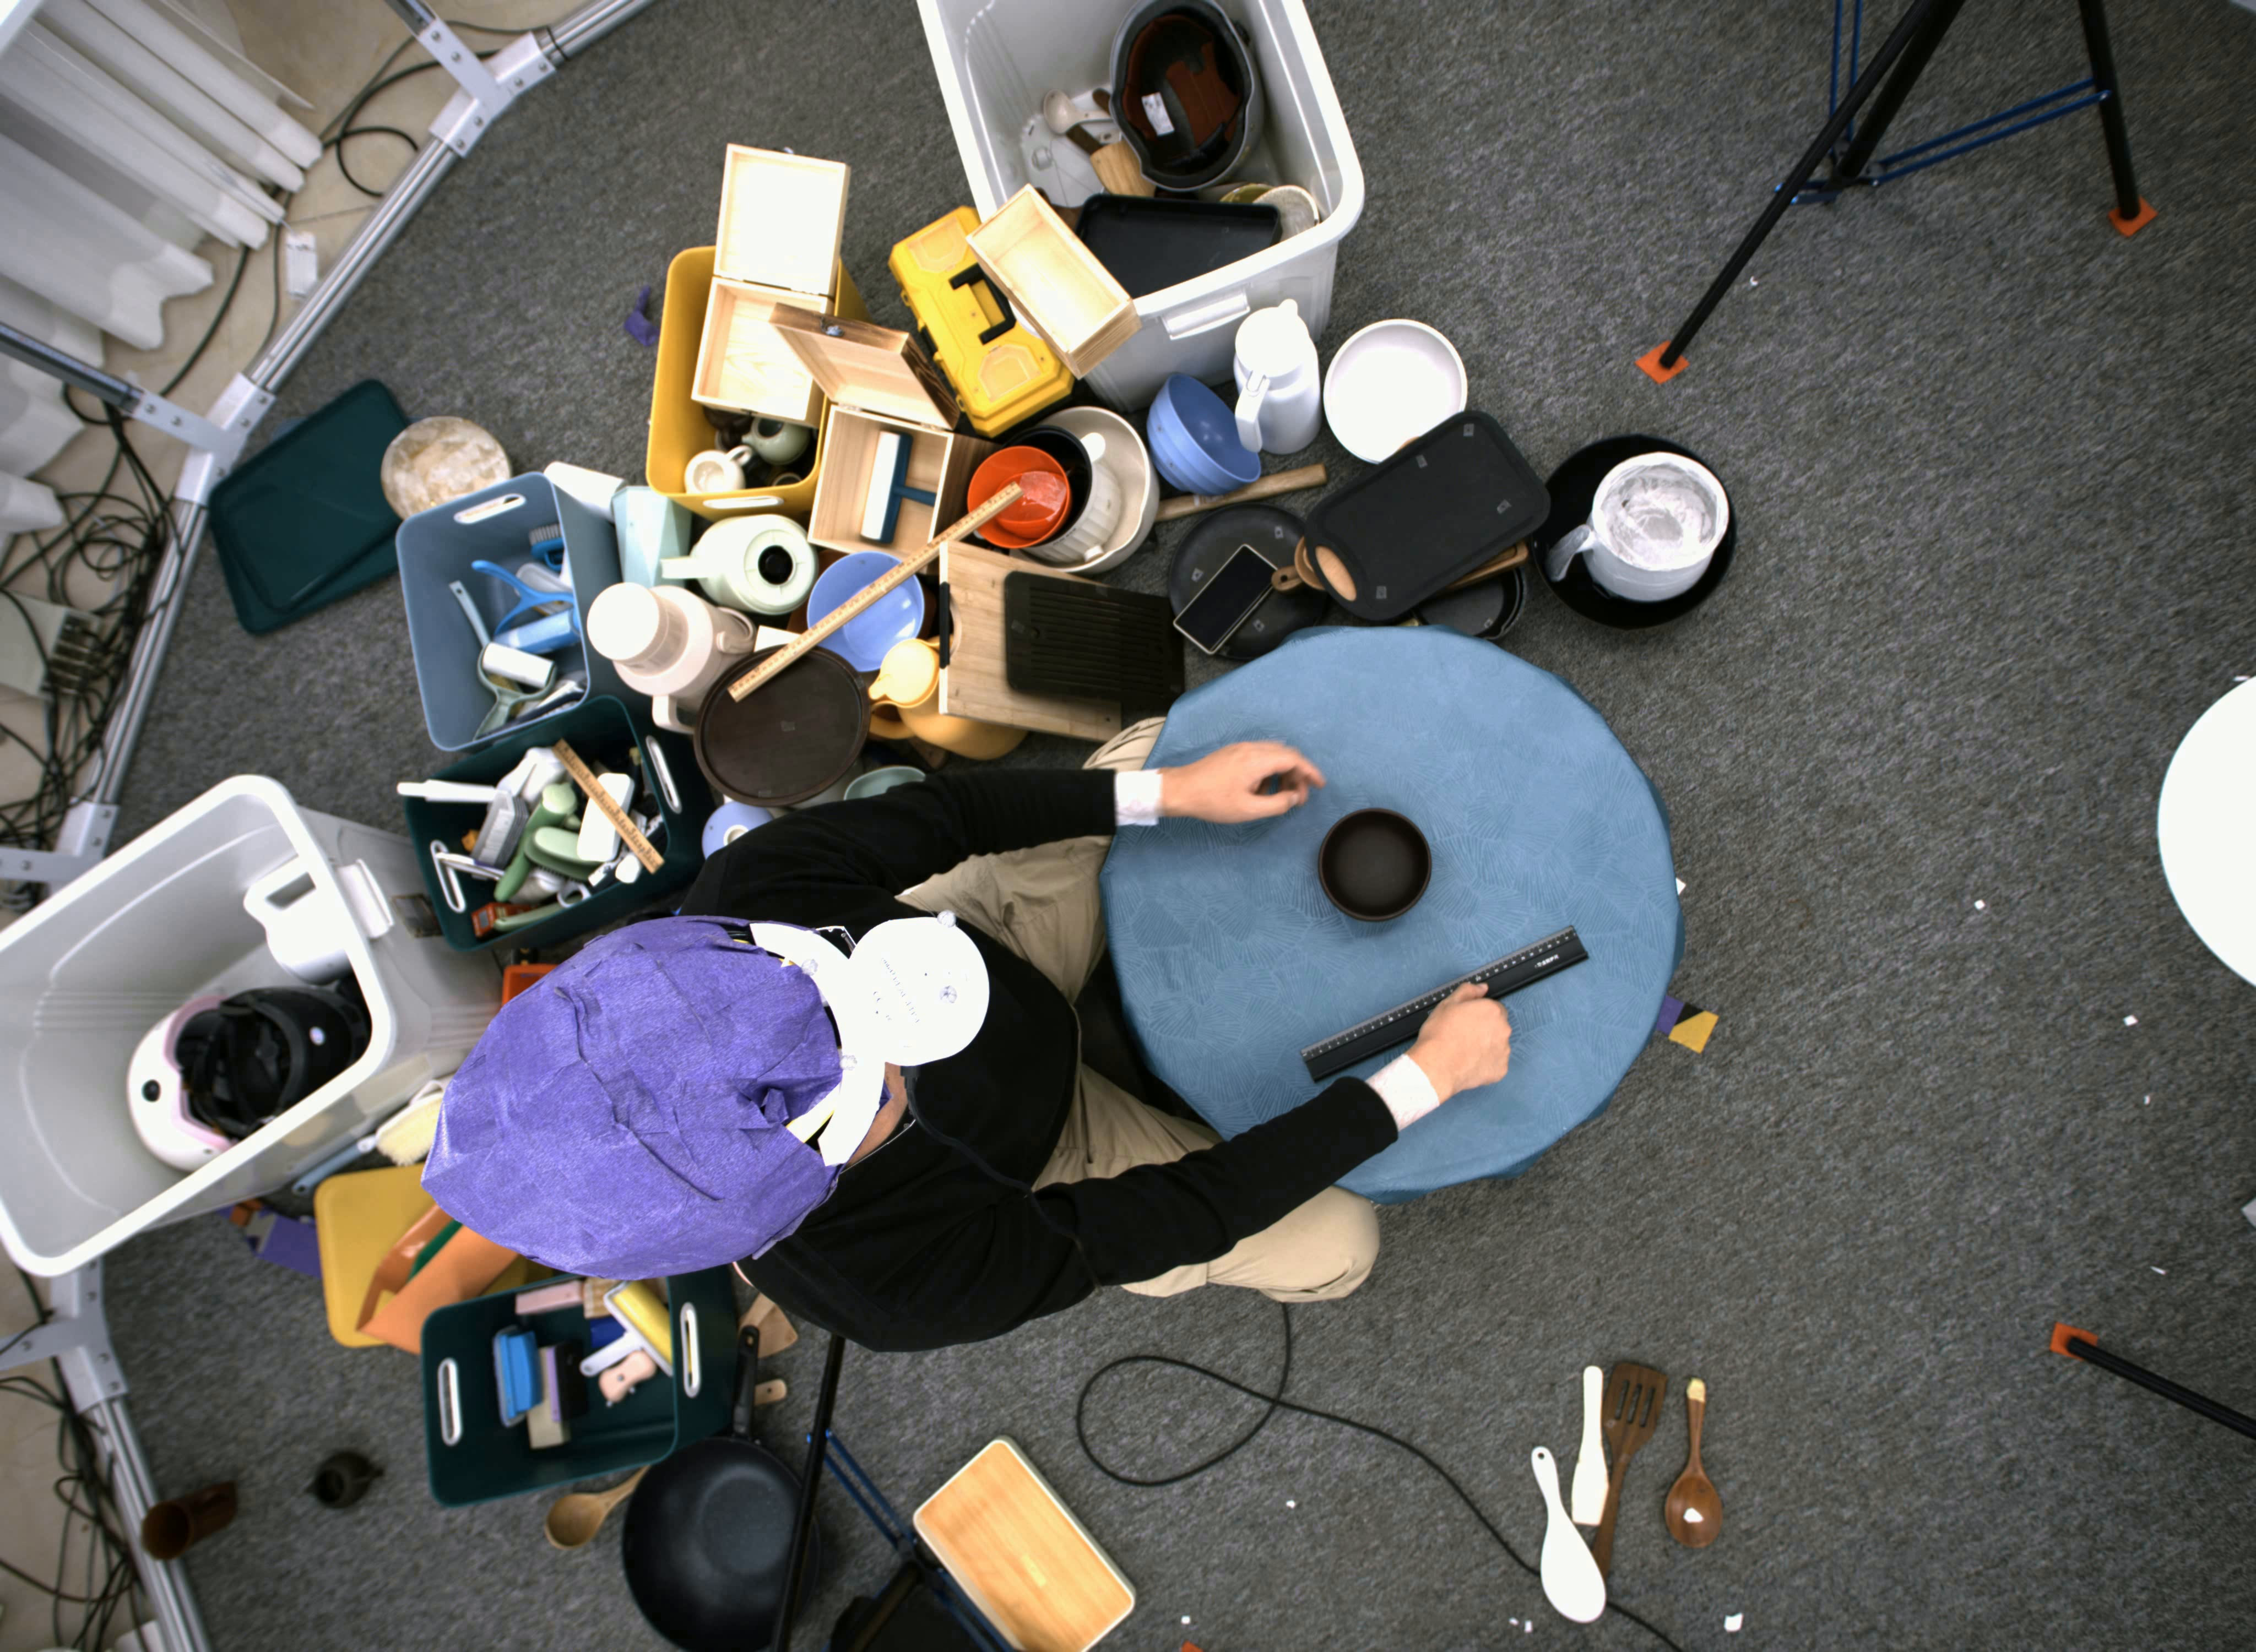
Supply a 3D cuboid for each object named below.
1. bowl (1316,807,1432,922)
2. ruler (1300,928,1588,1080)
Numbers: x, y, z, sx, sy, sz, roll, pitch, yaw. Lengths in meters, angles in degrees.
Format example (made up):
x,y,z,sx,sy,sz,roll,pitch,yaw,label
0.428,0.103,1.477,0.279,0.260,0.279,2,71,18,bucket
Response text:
x,y,z,sx,sy,sz,roll,pitch,yaw,label
0.254,0.040,1.428,0.118,0.070,0.117,-1,85,10,bowl
0.327,0.183,1.436,0.314,0.017,0.039,-26,79,8,ruler
